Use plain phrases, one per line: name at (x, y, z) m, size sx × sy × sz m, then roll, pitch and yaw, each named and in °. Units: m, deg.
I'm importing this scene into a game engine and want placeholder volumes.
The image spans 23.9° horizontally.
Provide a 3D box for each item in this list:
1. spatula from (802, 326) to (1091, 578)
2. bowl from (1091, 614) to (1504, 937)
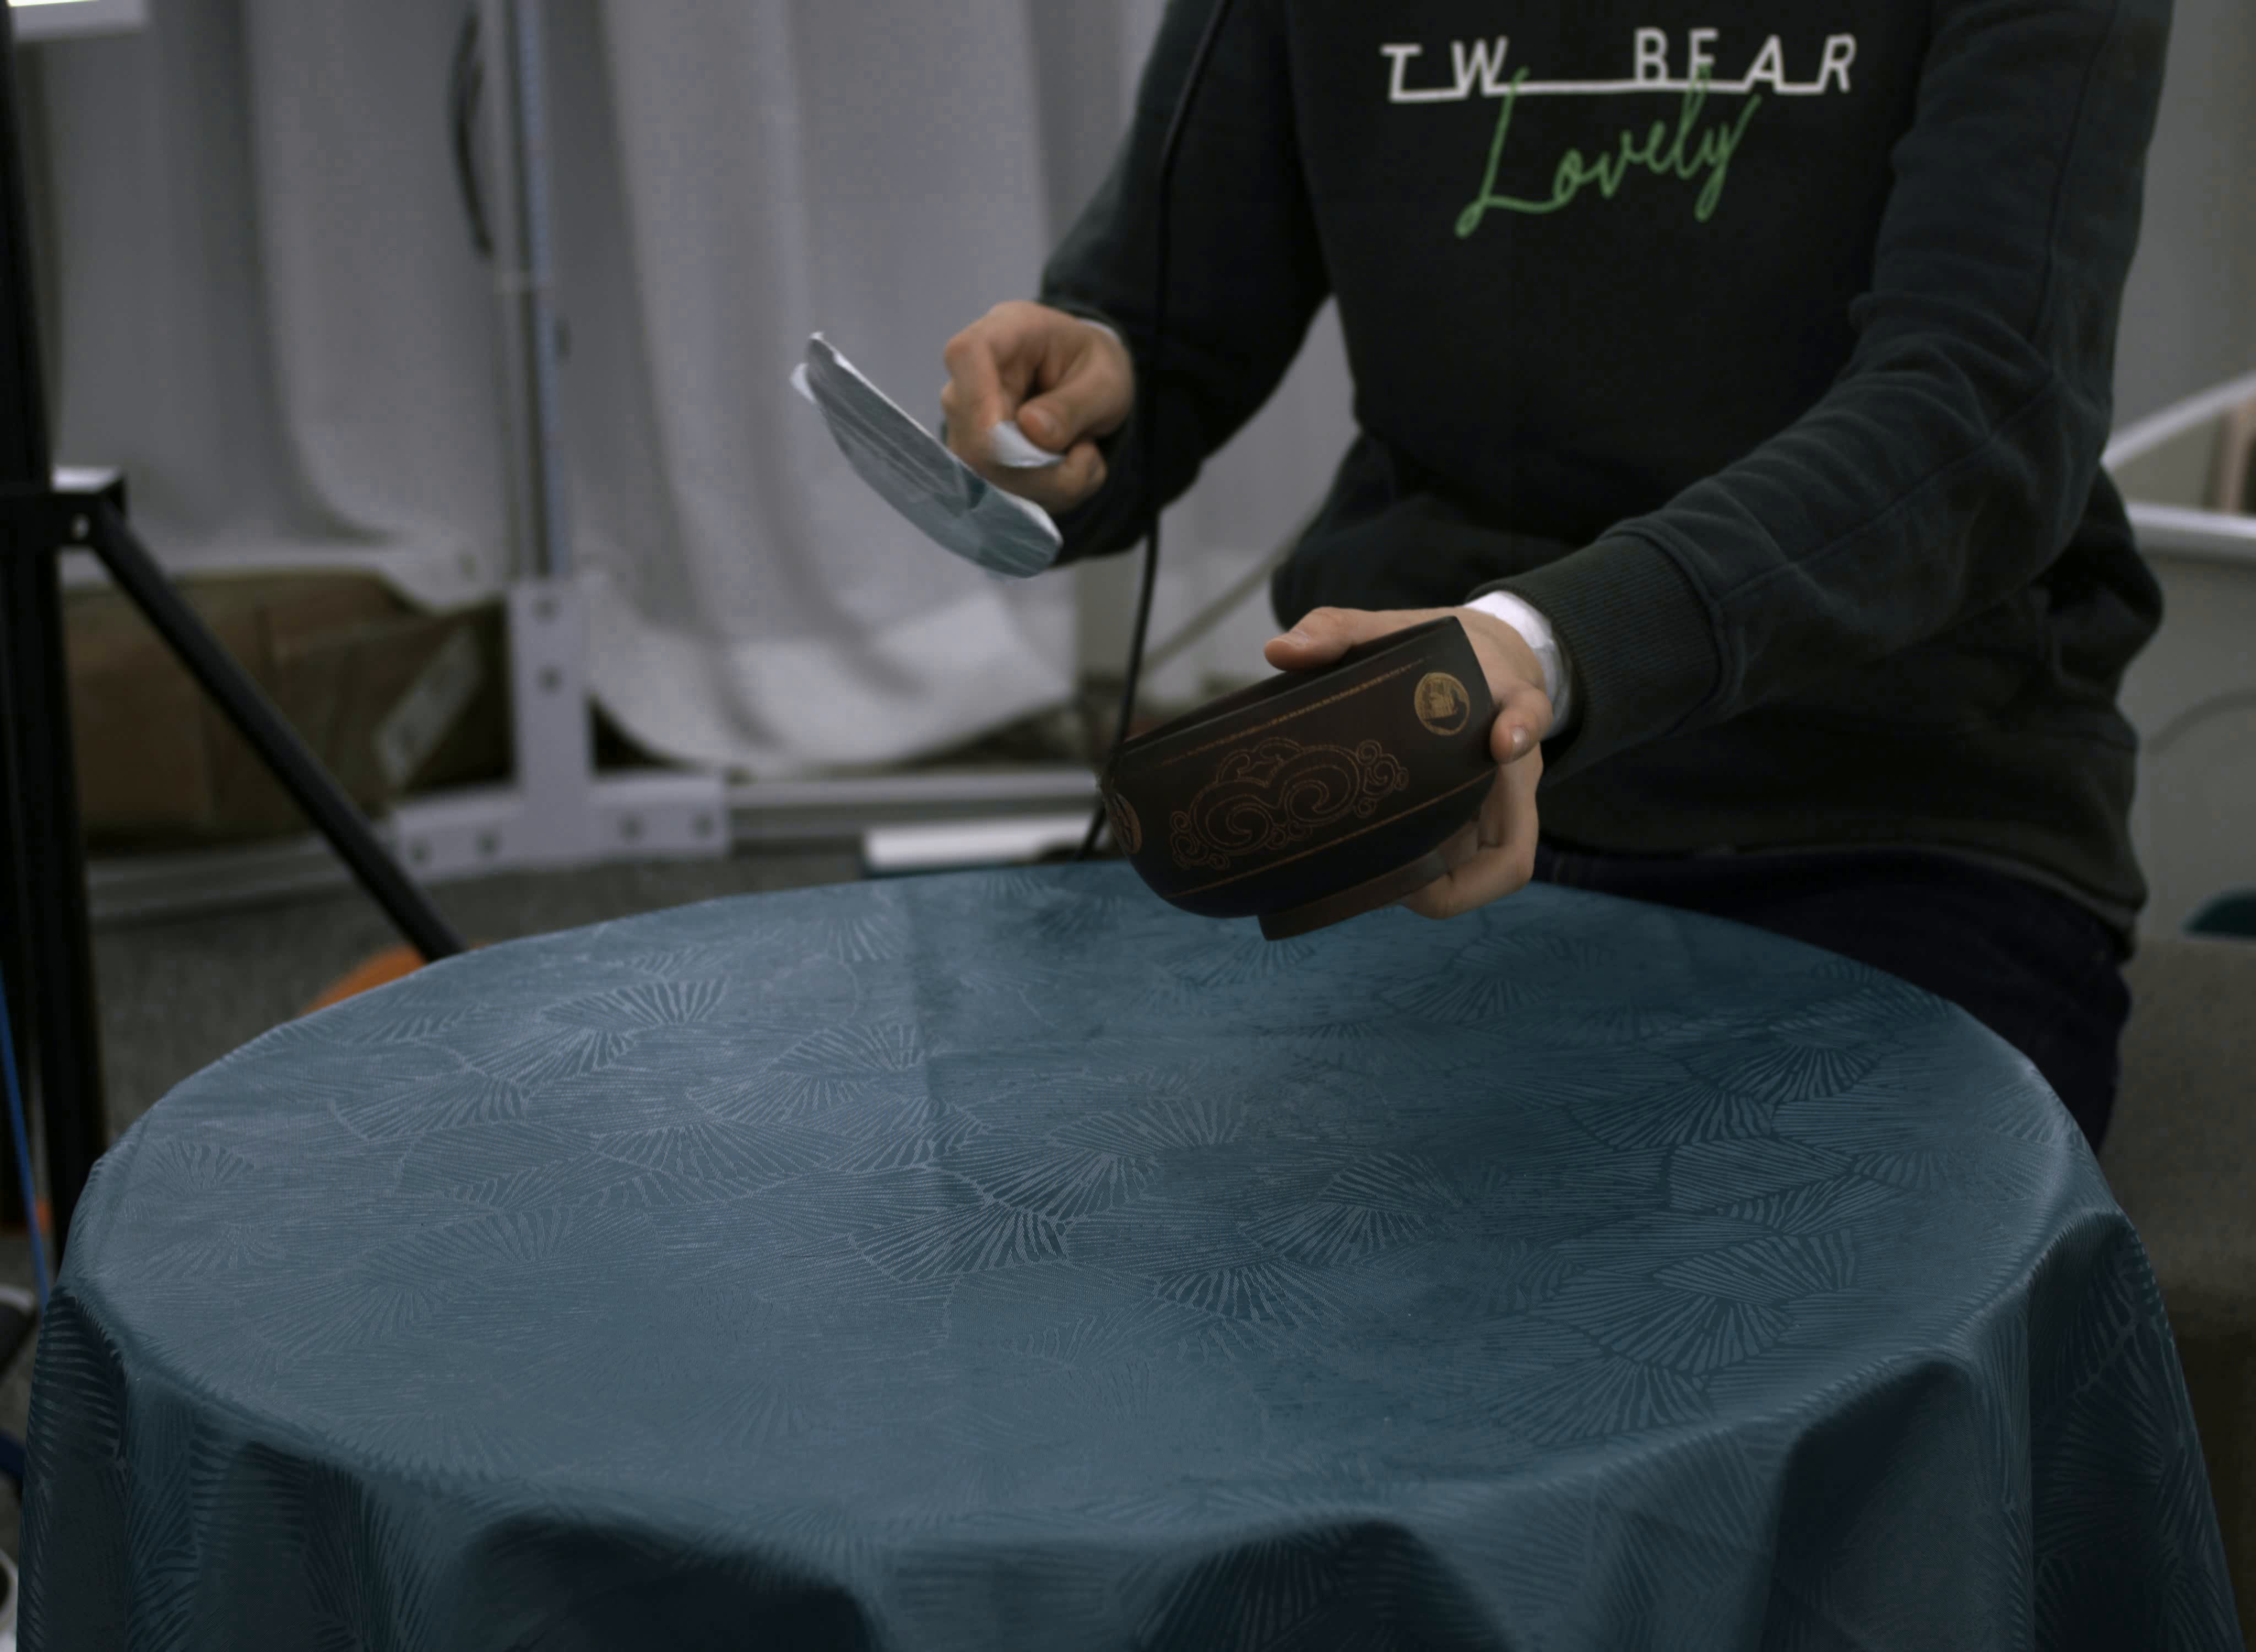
spatula at (-0.042, -0.120, 1.744) m, size 0.099 × 0.045 × 0.362 m, roll 38°, pitch 10°, yaw 4°
bowl at (0.054, -0.009, 1.534) m, size 0.117 × 0.070 × 0.118 m, roll -19°, pitch 2°, yaw -1°
